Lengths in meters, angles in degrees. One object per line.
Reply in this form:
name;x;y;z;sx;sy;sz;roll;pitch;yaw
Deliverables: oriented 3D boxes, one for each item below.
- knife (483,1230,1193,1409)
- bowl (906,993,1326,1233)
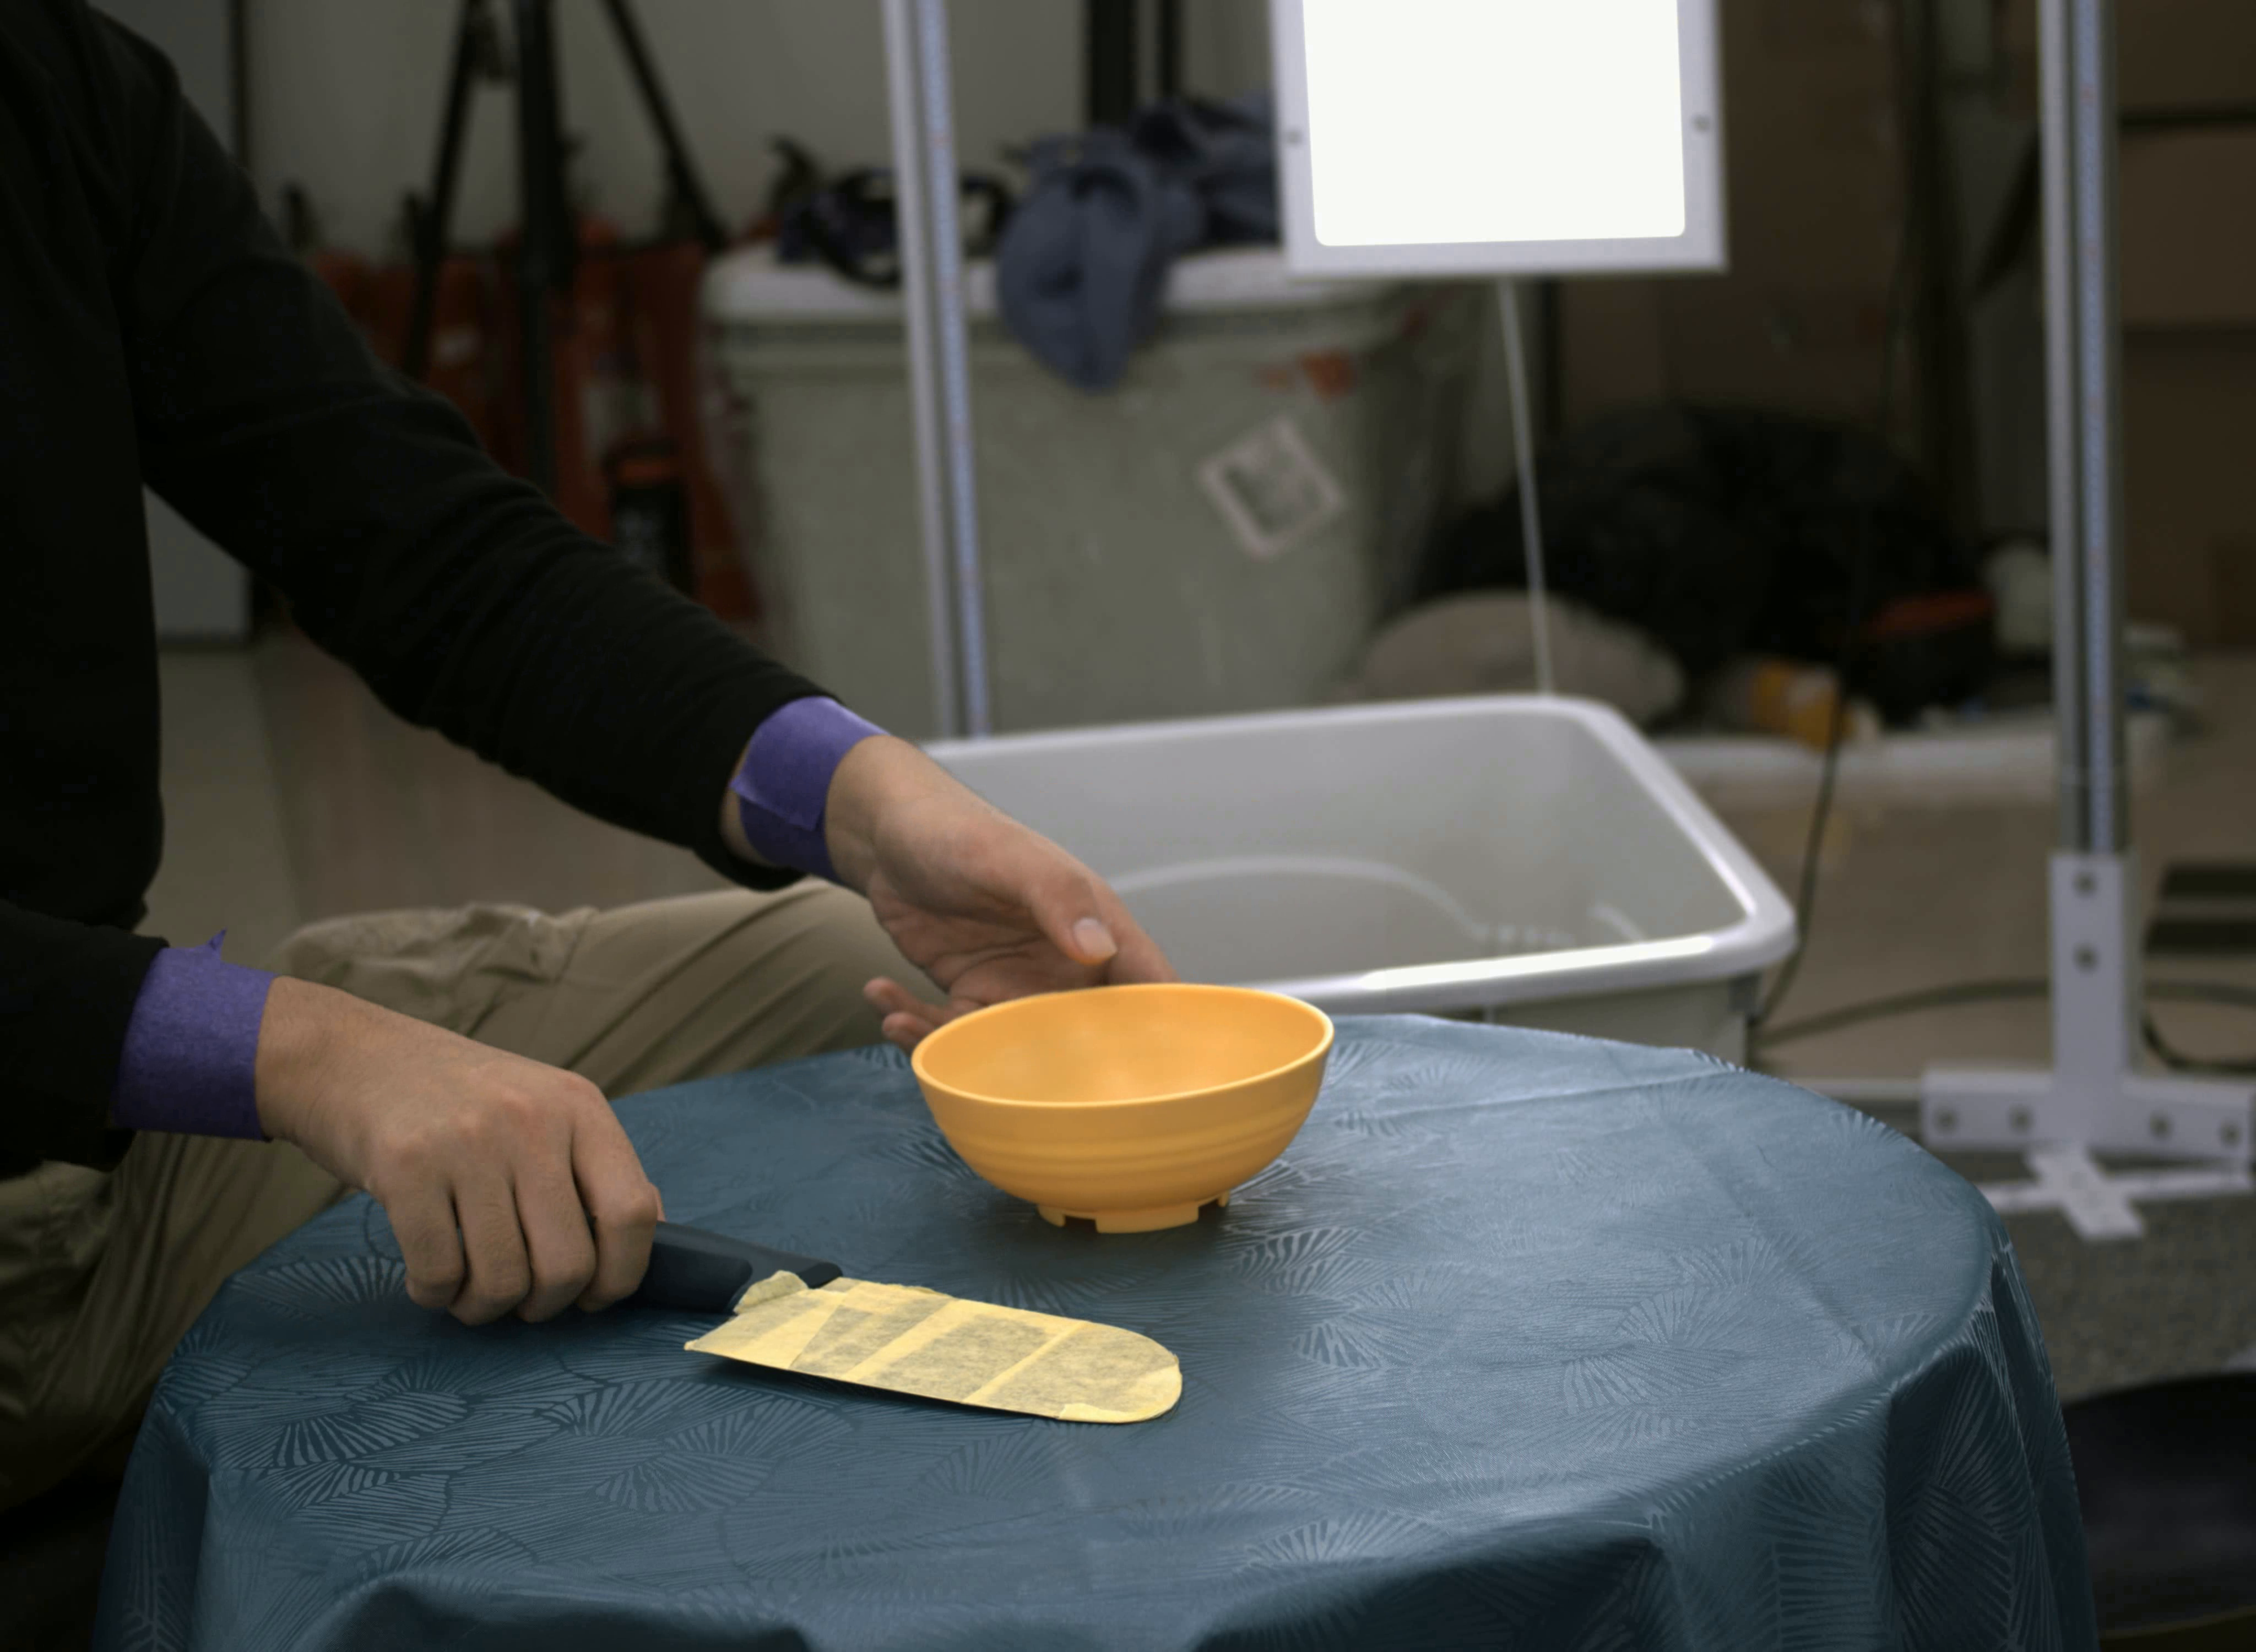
knife;-0.101;0.160;1.770;0.295;0.027;0.079;6;17;35
bowl;-0.003;0.102;1.879;0.145;0.060;0.145;-3;12;-1
